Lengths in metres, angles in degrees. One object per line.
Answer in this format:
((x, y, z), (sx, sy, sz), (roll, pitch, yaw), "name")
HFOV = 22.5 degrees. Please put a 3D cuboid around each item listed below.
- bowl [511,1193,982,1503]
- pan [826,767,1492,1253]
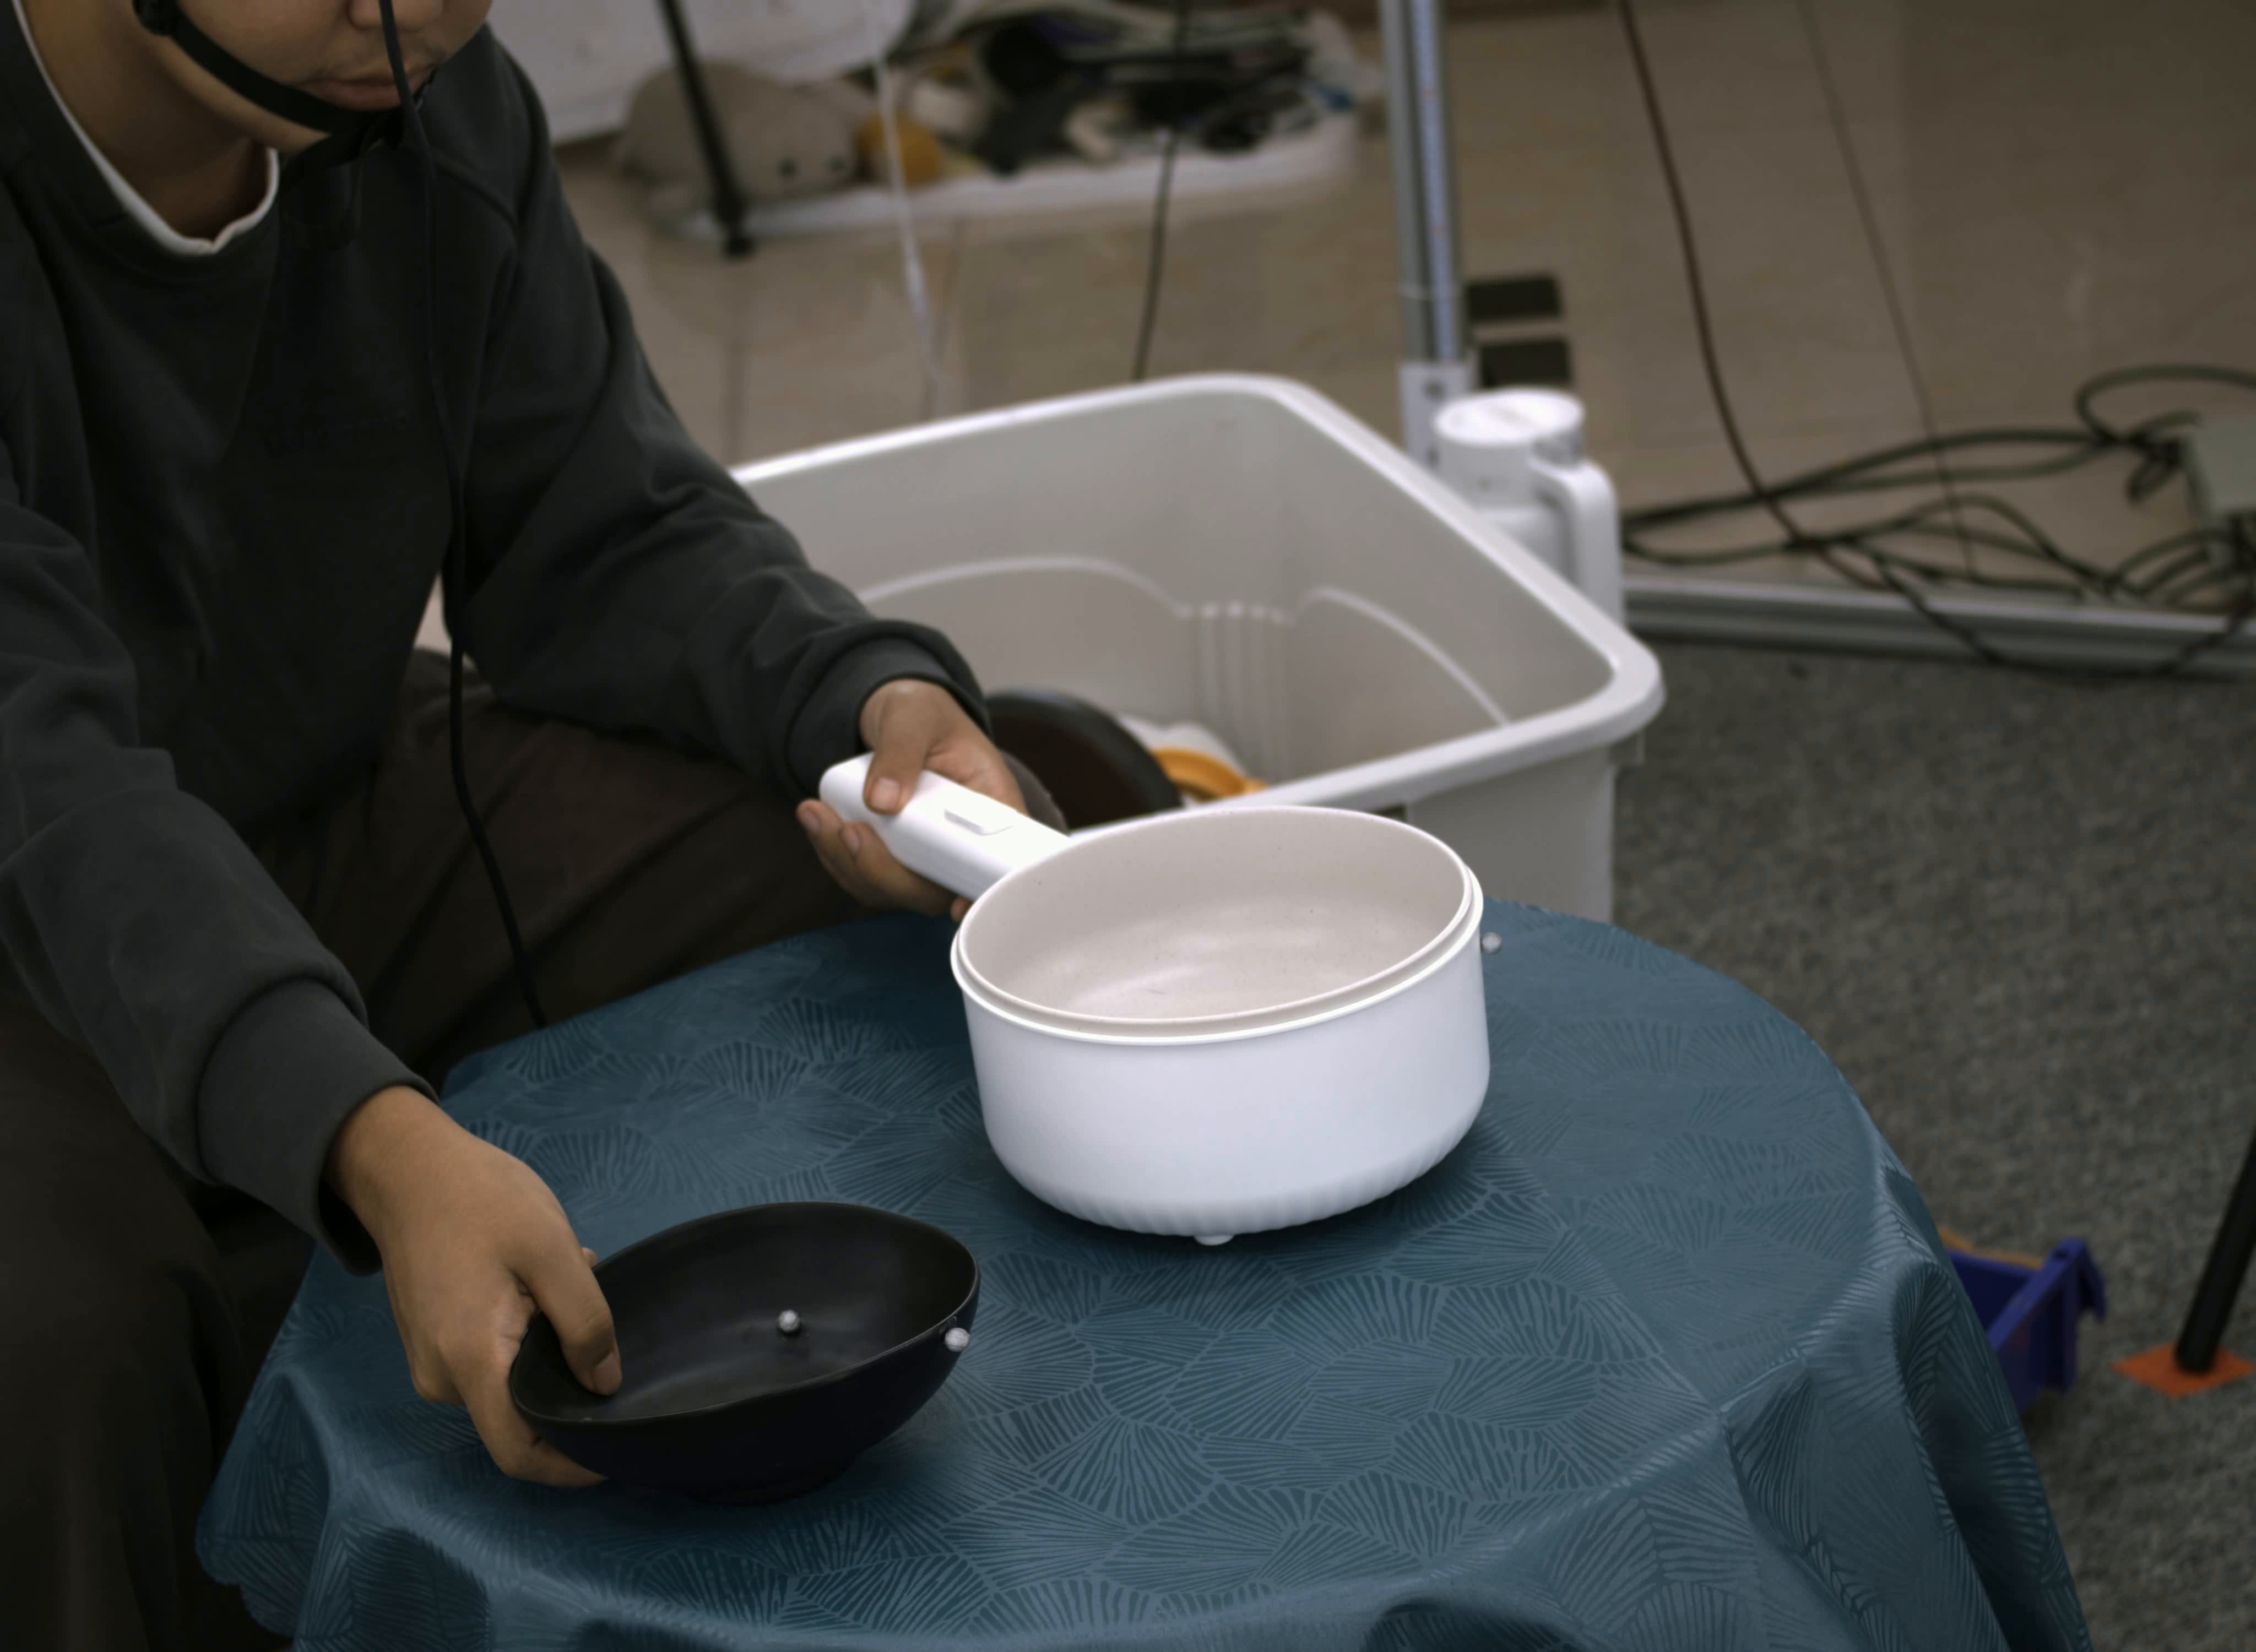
((-0.129, 0.192, 1.984), (0.169, 0.068, 0.135), (-17, 26, -18), "bowl")
((-0.005, 0.063, 2.209), (0.200, 0.103, 0.352), (-24, 26, -29), "pan")
